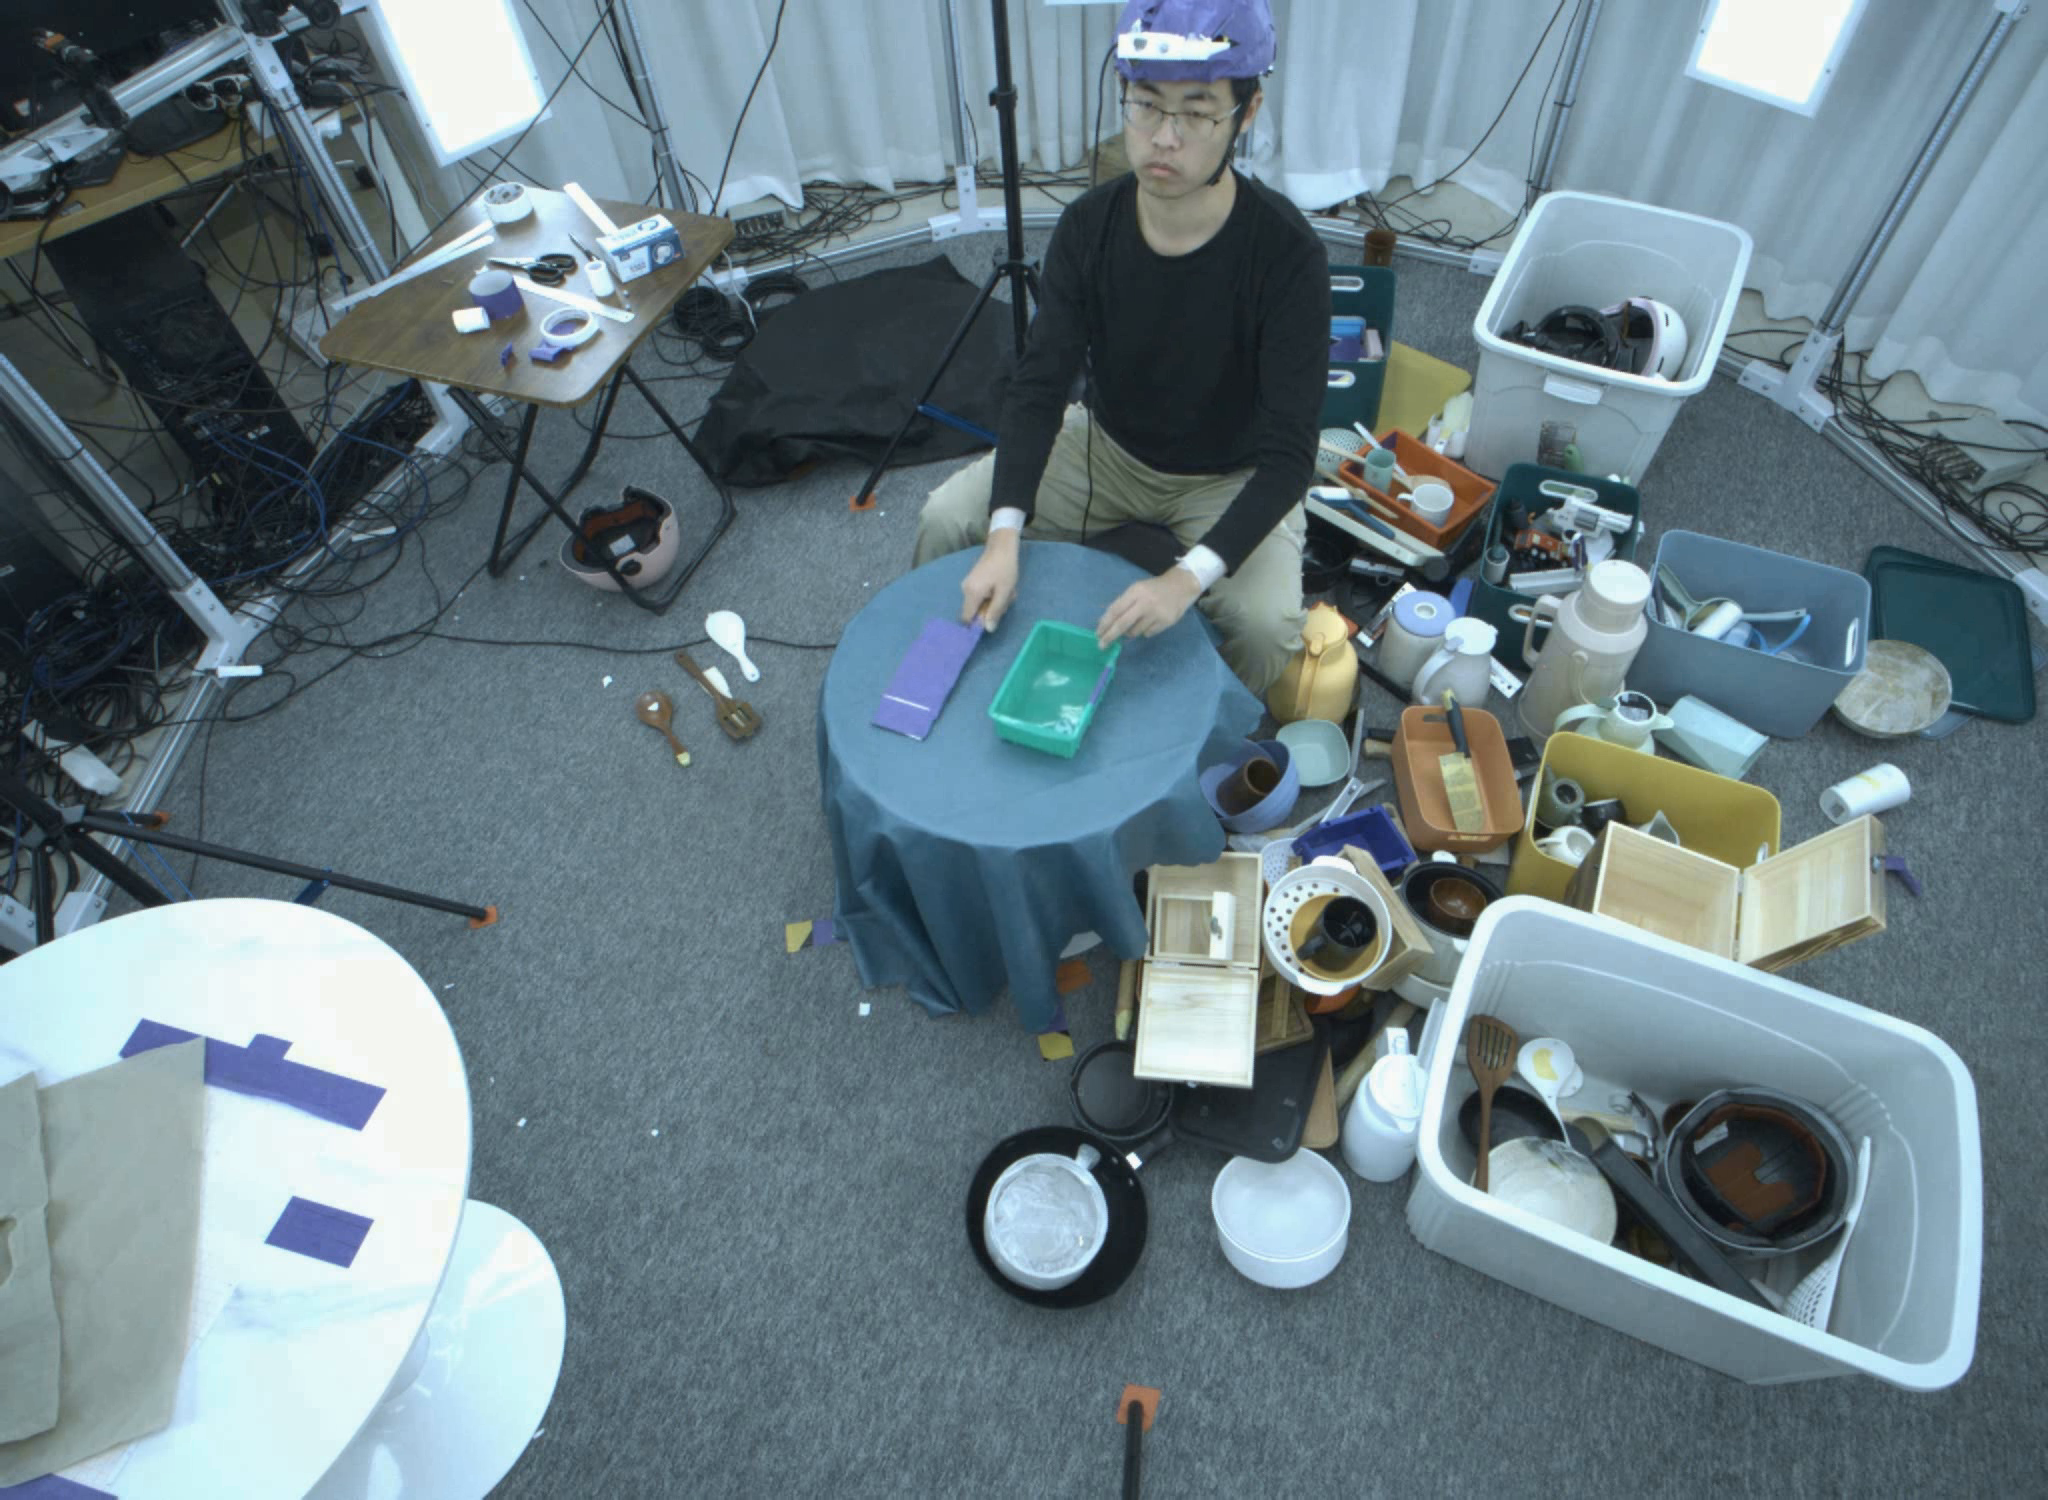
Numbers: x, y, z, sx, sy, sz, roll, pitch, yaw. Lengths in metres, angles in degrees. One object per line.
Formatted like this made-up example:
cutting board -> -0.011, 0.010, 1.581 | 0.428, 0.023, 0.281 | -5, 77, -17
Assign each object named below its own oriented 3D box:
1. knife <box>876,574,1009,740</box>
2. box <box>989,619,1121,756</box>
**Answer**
knife -> -0.125, -0.154, 1.866 | 0.103, 0.032, 0.315 | 21, 61, 12
box -> 0.048, -0.090, 1.812 | 0.137, 0.066, 0.210 | 17, 56, 13
